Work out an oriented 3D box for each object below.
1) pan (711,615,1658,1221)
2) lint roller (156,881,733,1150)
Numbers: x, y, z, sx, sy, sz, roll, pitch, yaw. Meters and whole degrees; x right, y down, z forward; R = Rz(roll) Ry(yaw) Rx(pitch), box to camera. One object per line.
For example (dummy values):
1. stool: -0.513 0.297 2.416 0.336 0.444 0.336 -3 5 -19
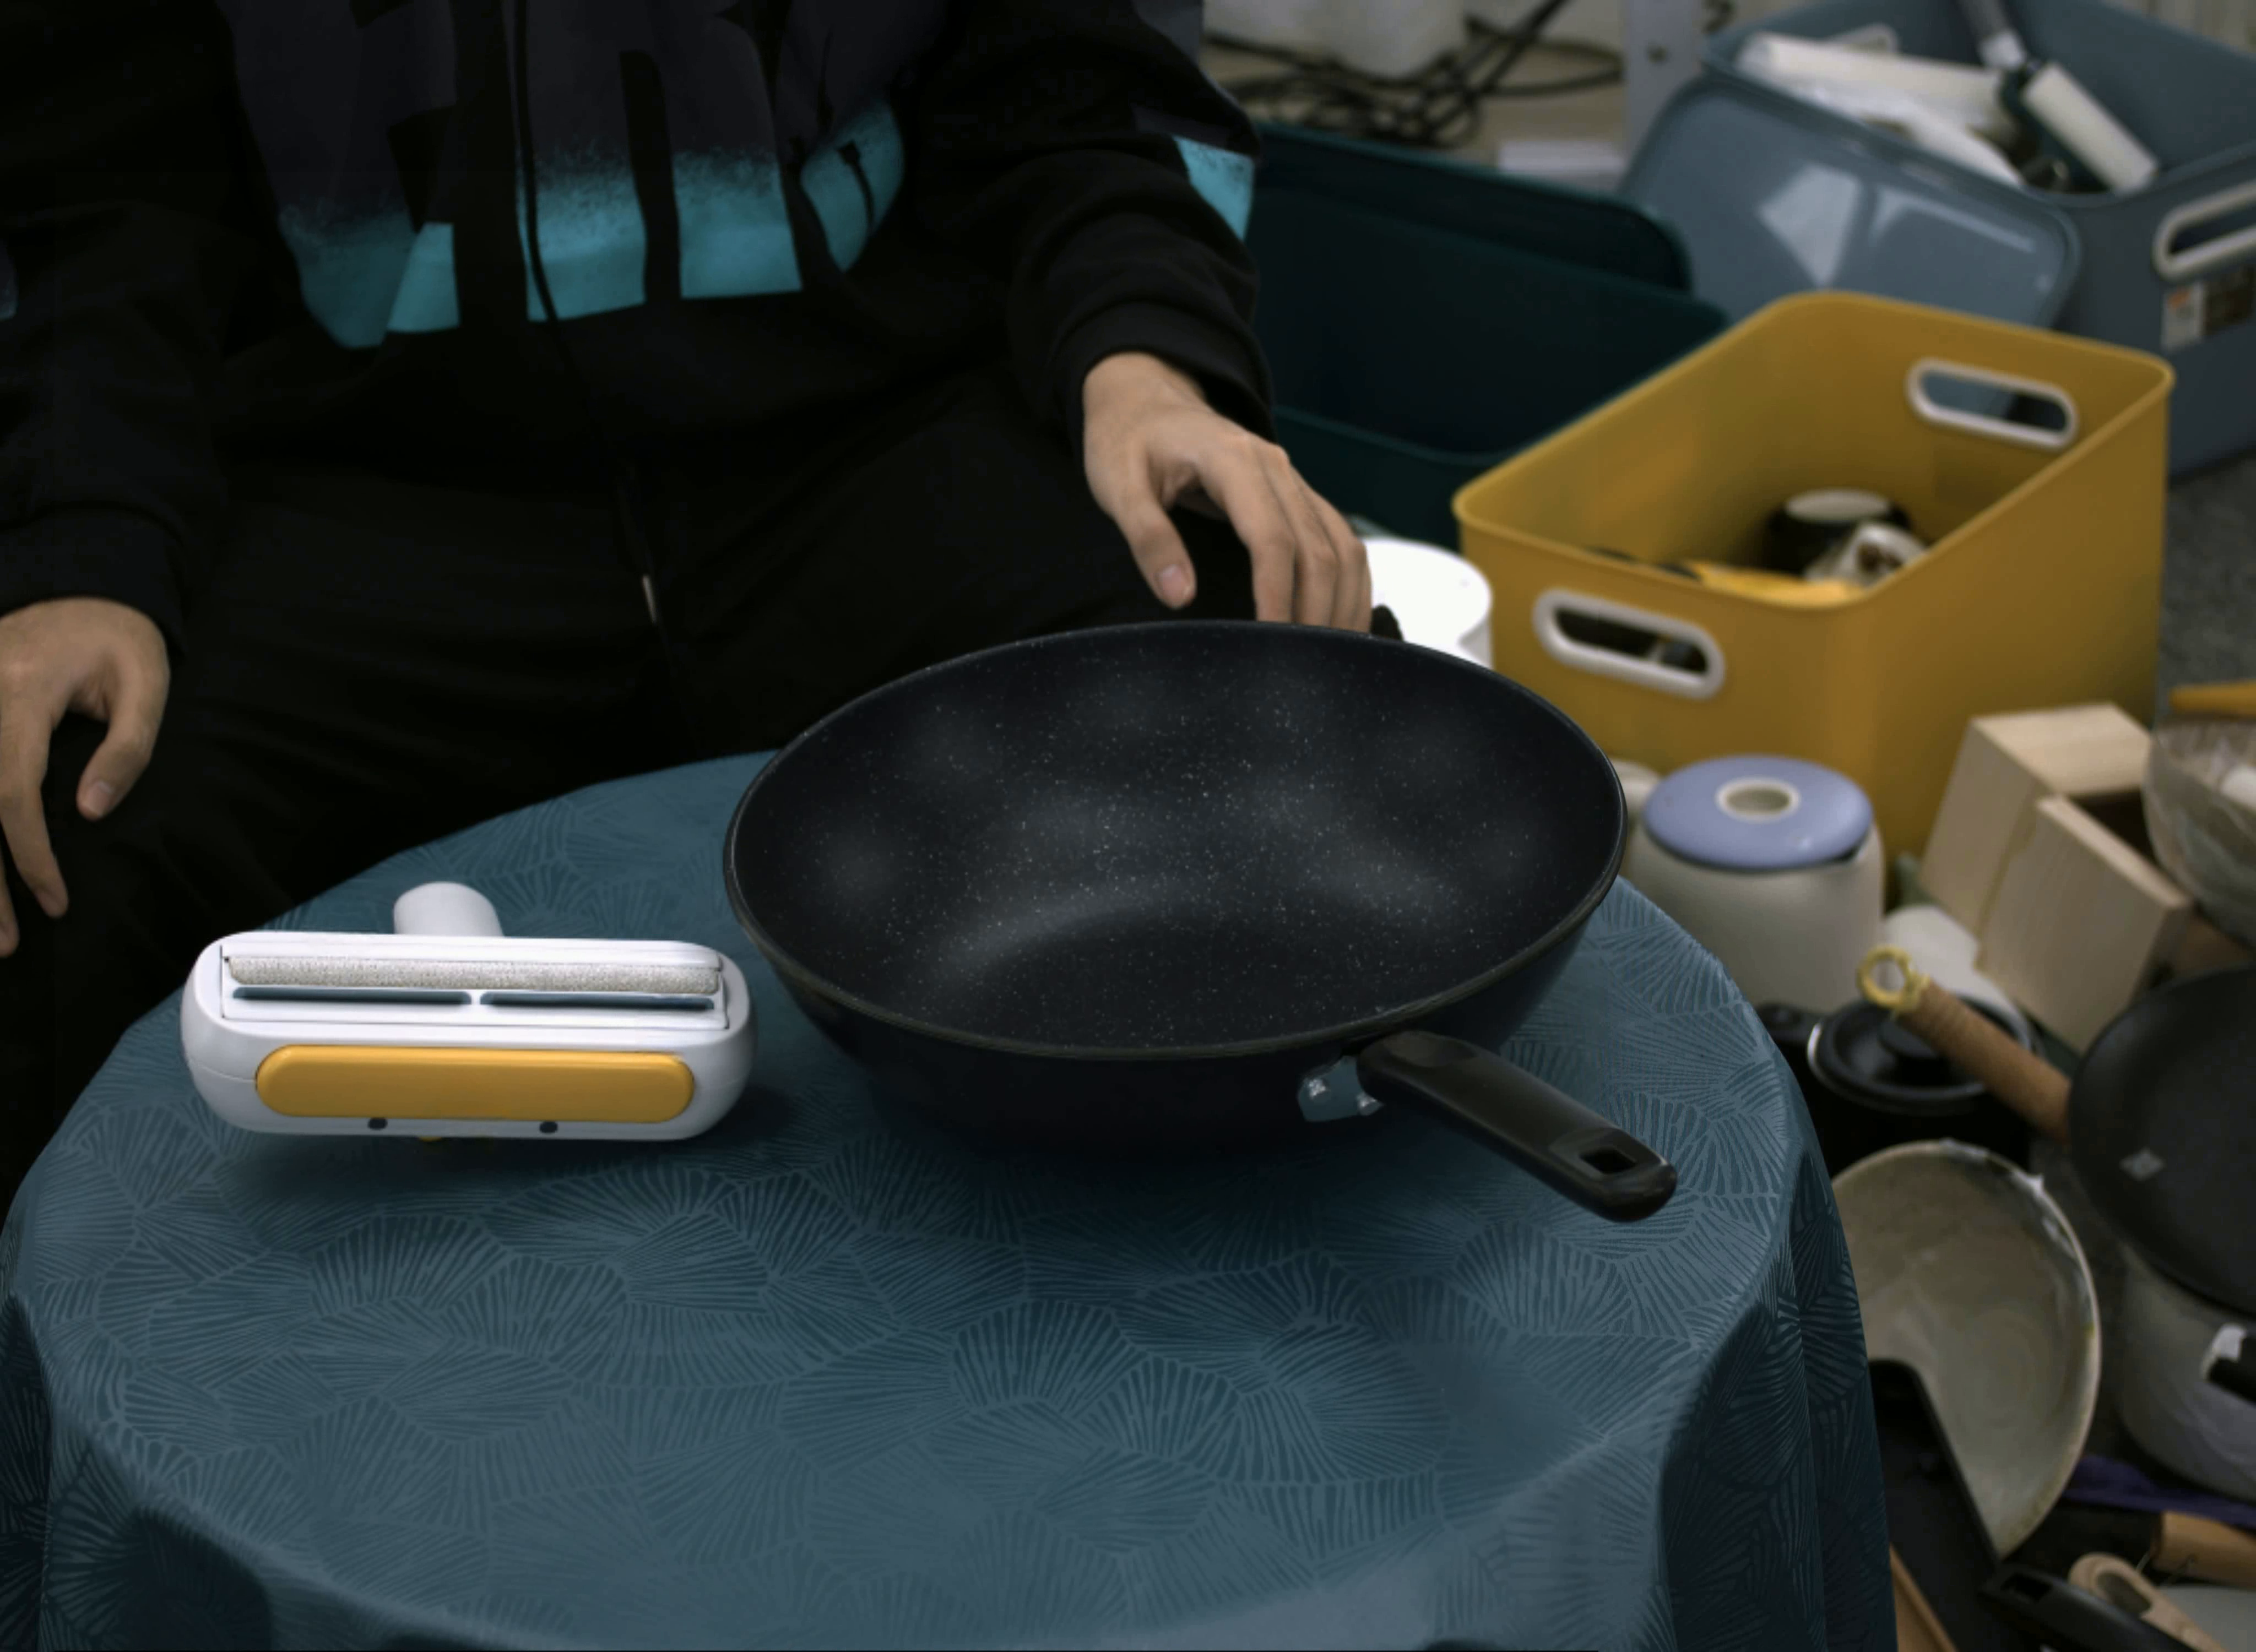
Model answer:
1. pan: 0.049 0.057 1.864 0.311 0.110 0.480 -17 30 -21
2. lint roller: -0.235 0.053 1.944 0.192 0.073 0.195 0 25 -7
